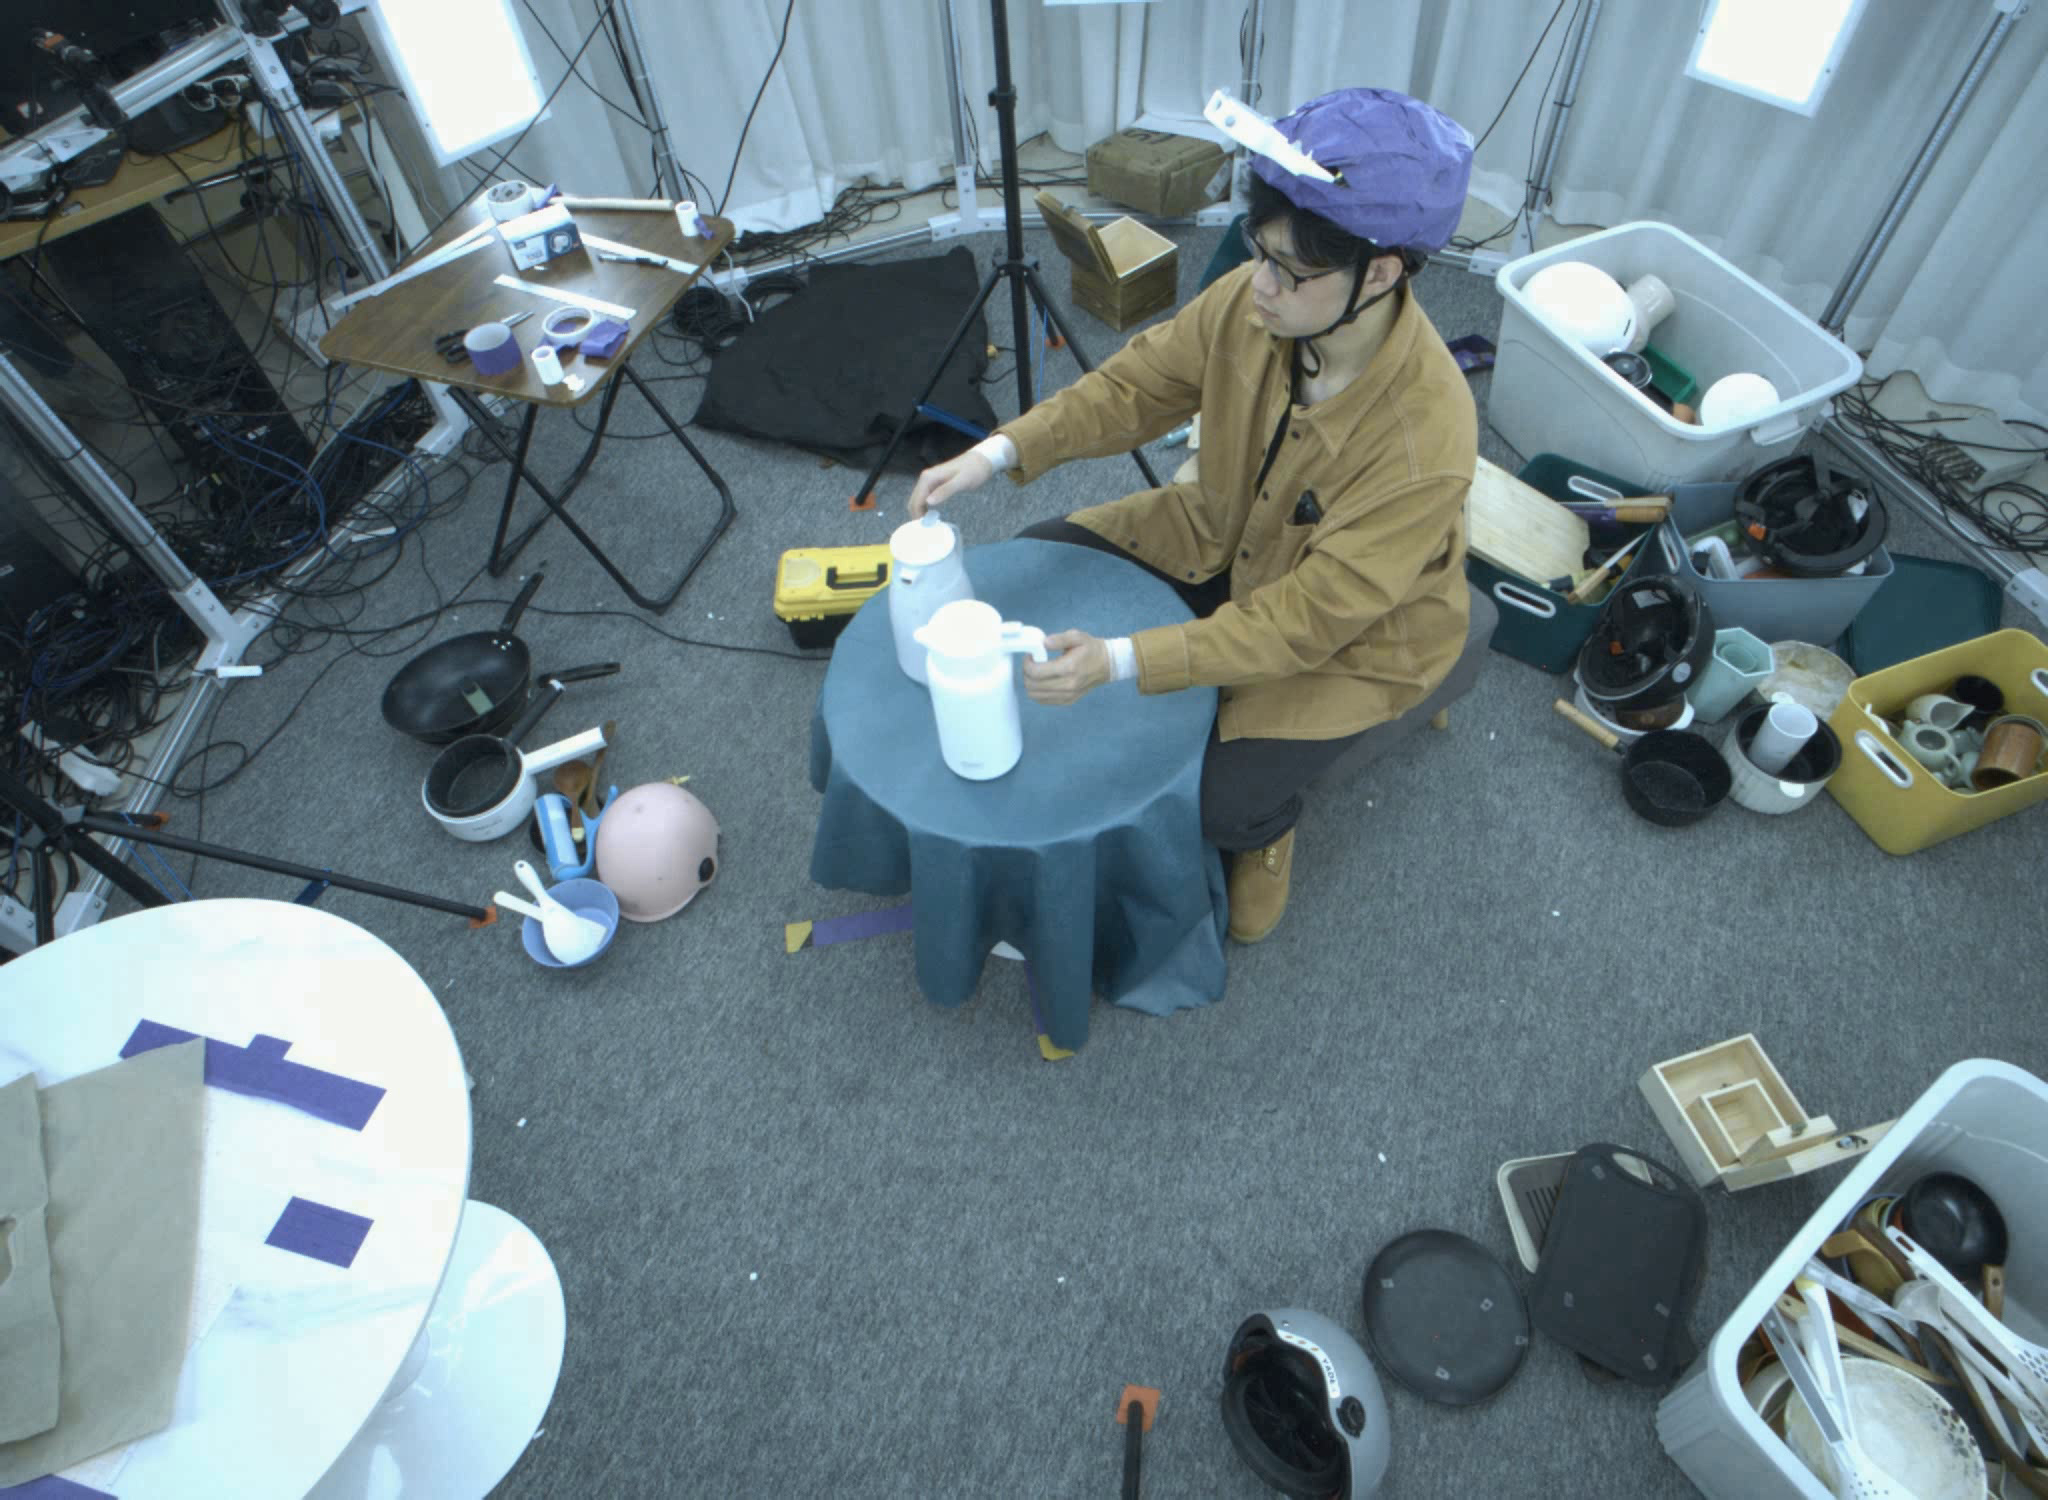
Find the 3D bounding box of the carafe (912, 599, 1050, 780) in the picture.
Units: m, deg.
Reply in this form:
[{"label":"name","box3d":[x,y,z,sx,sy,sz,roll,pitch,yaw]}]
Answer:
[{"label":"carafe","box3d":[-0.051,-0.080,1.677,0.173,0.272,0.122,-3,52,1]}]

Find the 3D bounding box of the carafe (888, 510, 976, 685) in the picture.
[{"label":"carafe","box3d":[-0.132,-0.237,1.803,0.131,0.251,0.167,13,55,13]}]
